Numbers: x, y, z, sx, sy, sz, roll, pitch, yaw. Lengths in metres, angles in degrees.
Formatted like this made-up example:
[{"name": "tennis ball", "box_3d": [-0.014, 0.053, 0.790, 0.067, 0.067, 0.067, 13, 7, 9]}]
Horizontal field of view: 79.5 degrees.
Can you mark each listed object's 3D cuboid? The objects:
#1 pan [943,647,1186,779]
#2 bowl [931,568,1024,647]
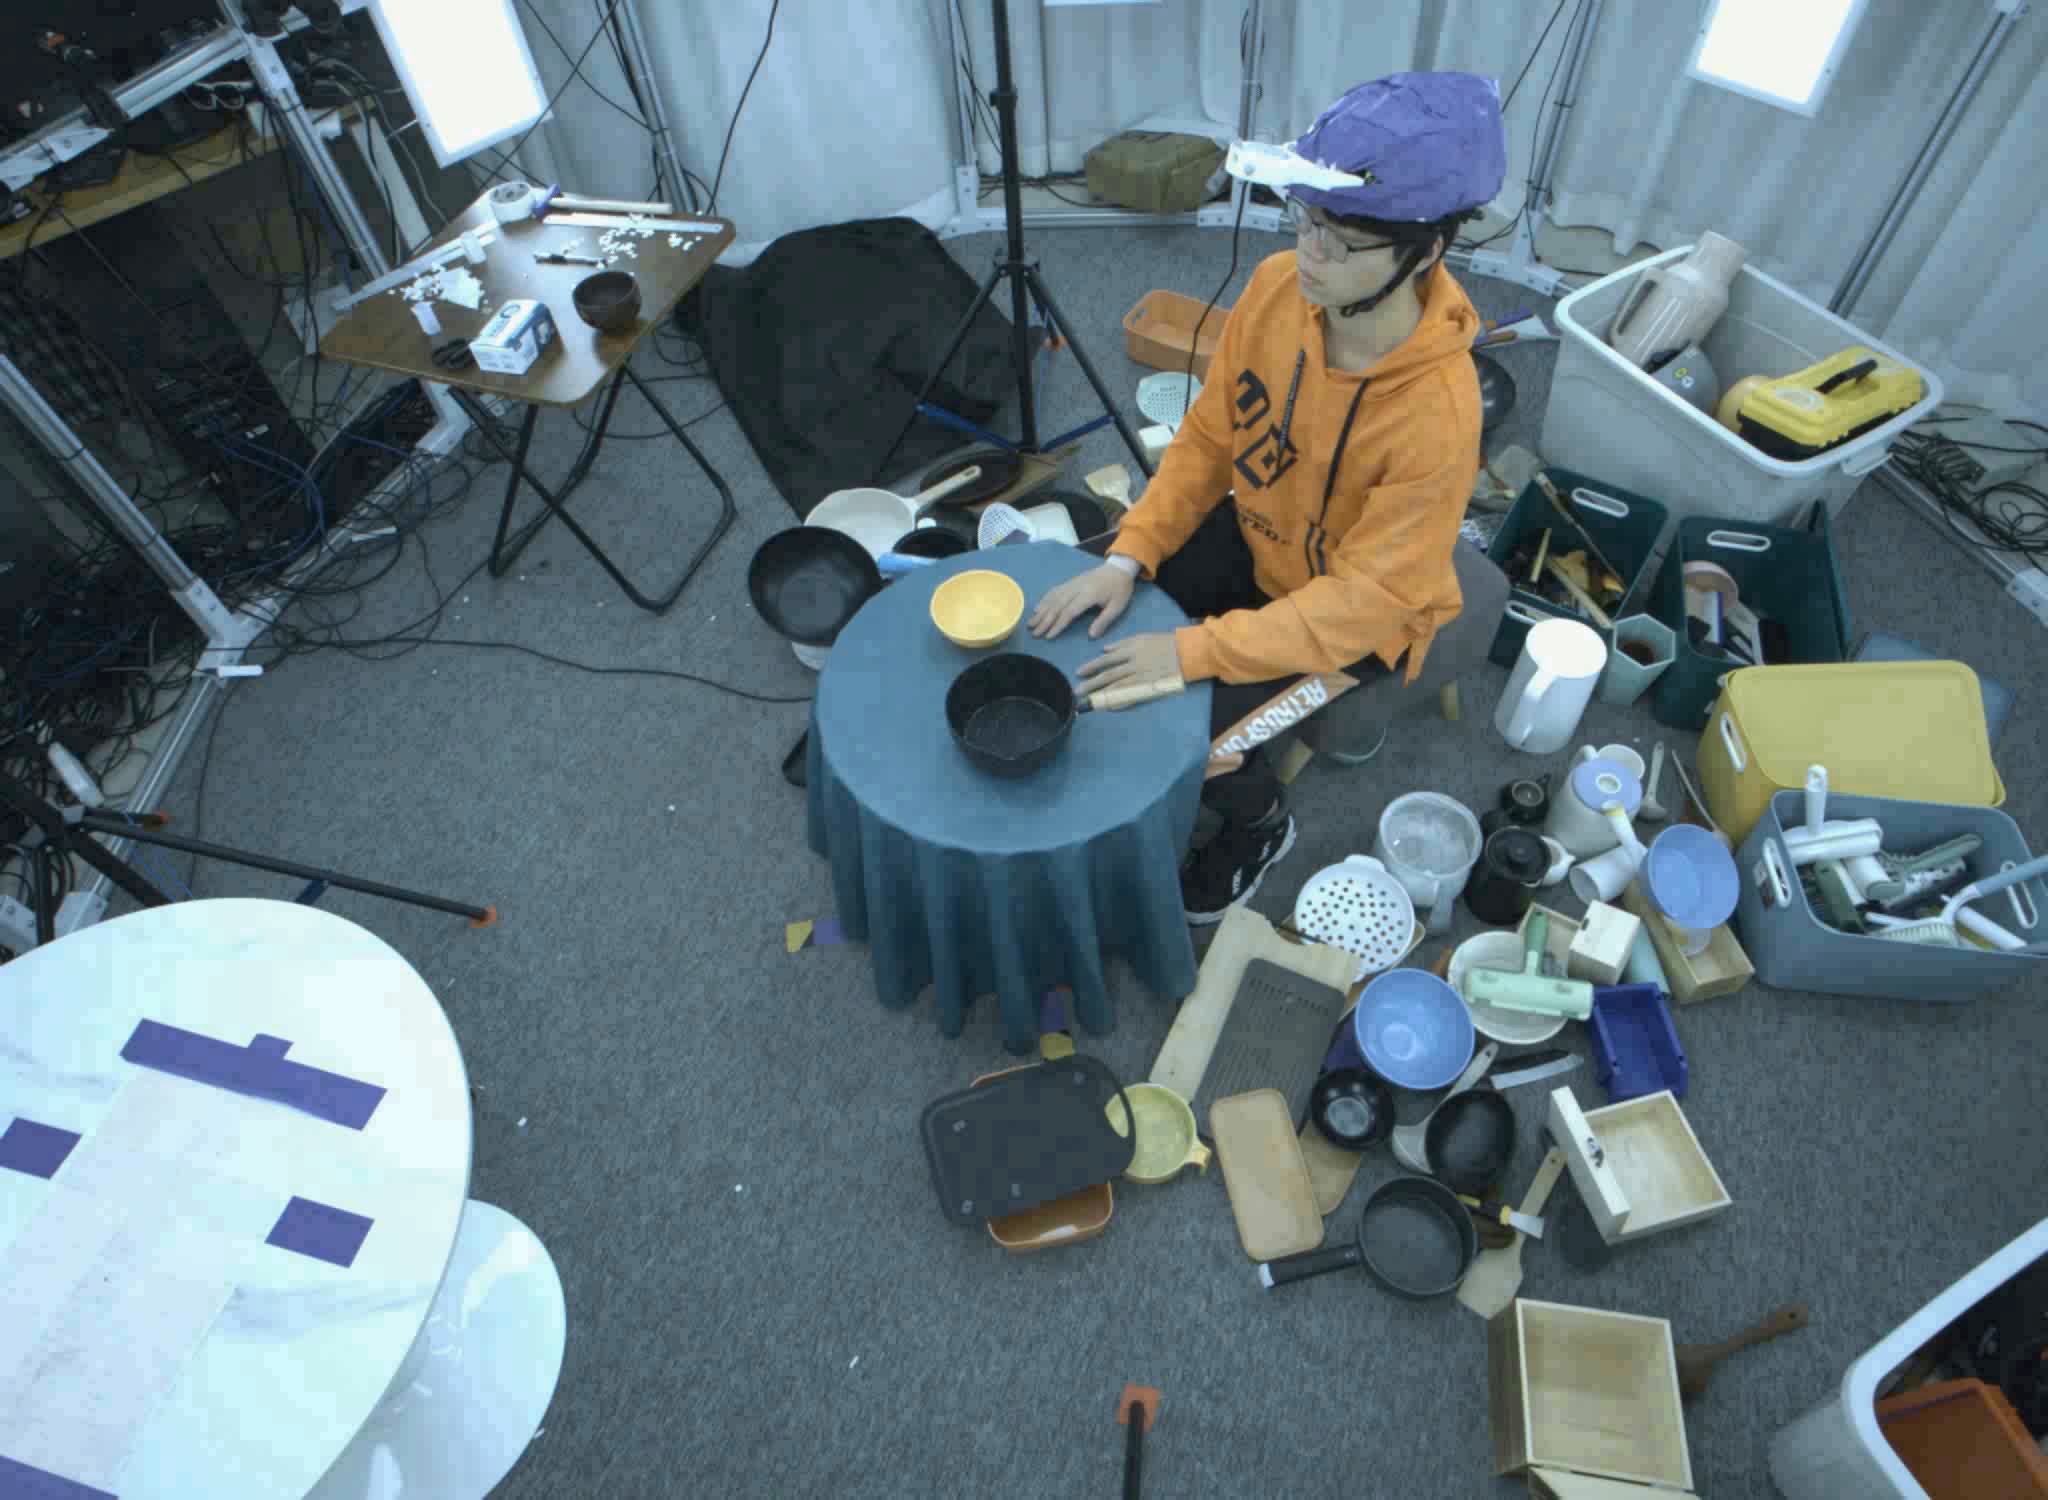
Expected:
[{"name": "pan", "box_3d": [0.060, -0.057, 1.759, 0.343, 0.109, 0.205, -5, 53, 0]}, {"name": "bowl", "box_3d": [-0.070, -0.209, 1.901, 0.145, 0.061, 0.144, 0, 56, 2]}]
